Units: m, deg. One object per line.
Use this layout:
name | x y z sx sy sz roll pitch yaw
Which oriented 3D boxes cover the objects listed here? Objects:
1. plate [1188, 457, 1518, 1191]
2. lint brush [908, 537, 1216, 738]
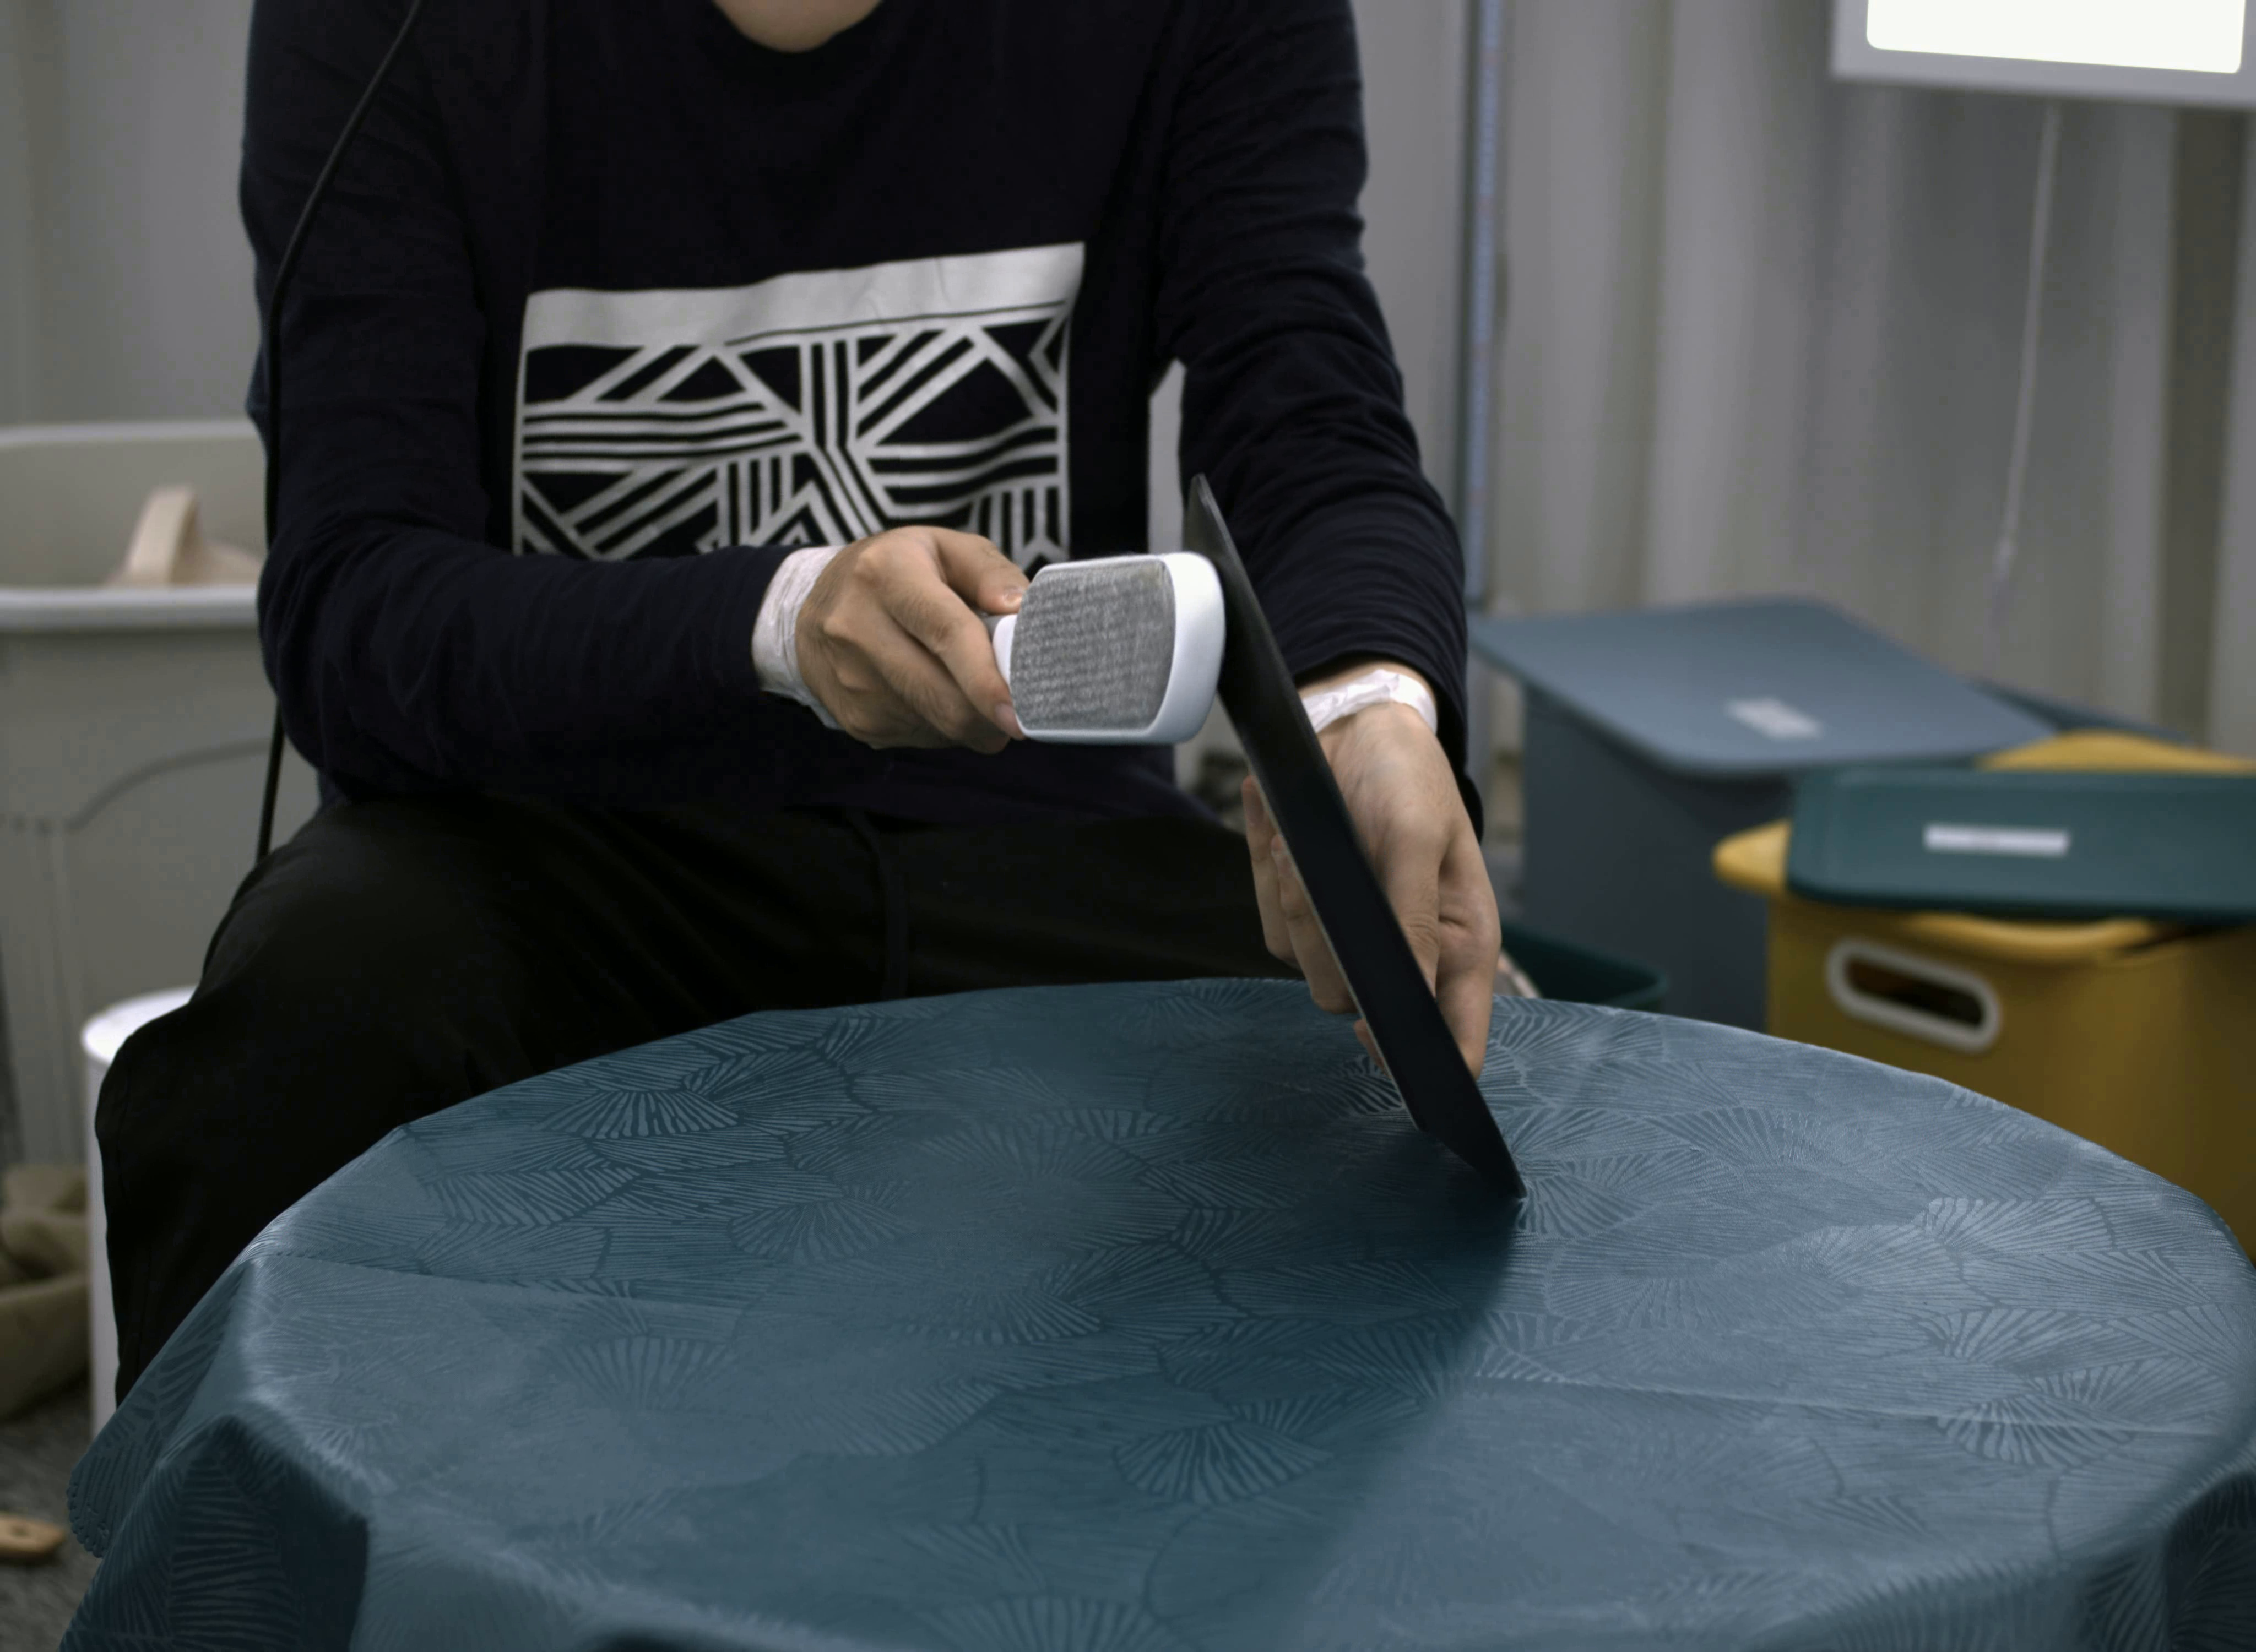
plate | 0.062 0.003 1.606 0.023 0.247 0.242 -23 17 2
lint brush | -0.025 -0.058 1.666 0.021 0.060 0.307 1 0 -17
